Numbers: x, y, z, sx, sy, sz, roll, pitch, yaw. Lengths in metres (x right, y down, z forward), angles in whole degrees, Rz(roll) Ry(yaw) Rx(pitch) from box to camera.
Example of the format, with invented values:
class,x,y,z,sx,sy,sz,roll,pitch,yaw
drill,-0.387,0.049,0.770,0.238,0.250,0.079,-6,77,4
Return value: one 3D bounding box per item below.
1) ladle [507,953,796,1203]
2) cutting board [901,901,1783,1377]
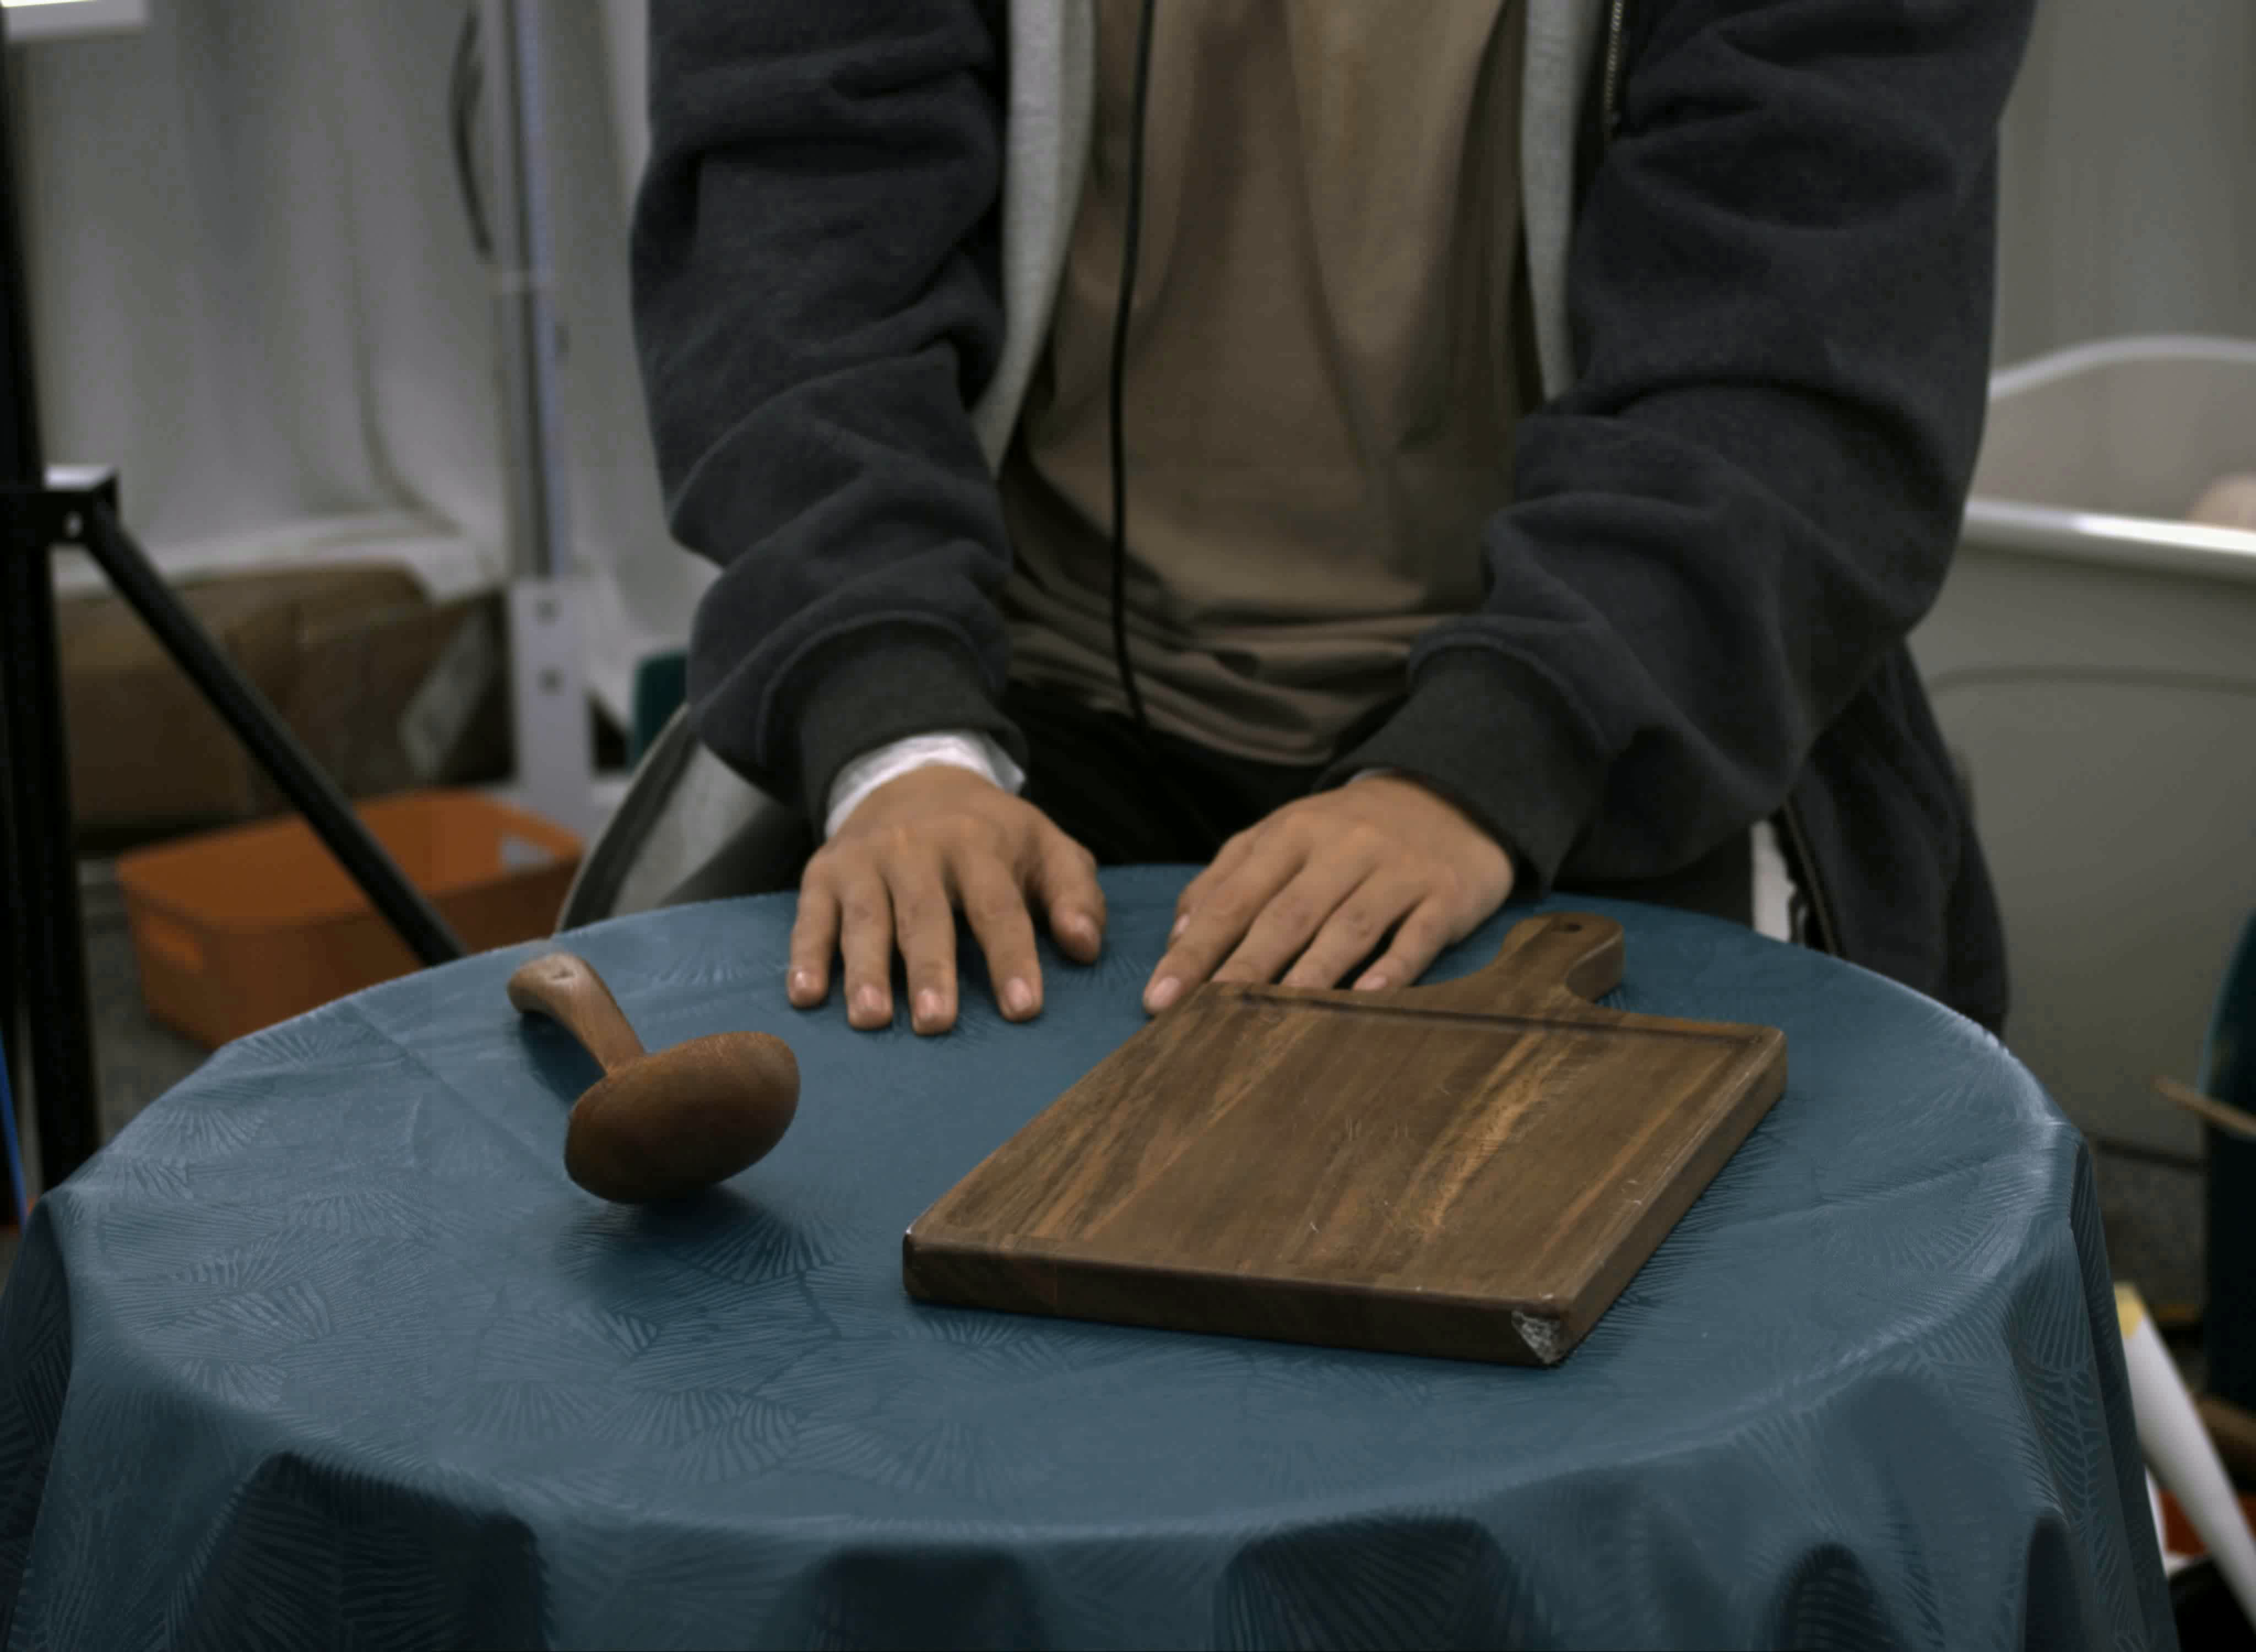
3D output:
class,x,y,z,sx,sy,sz,roll,pitch,yaw
ladle,-0.160,0.060,1.639,0.075,0.065,0.264,-14,18,-13
cutting board,0.086,0.083,1.592,0.203,0.023,0.348,5,18,21
